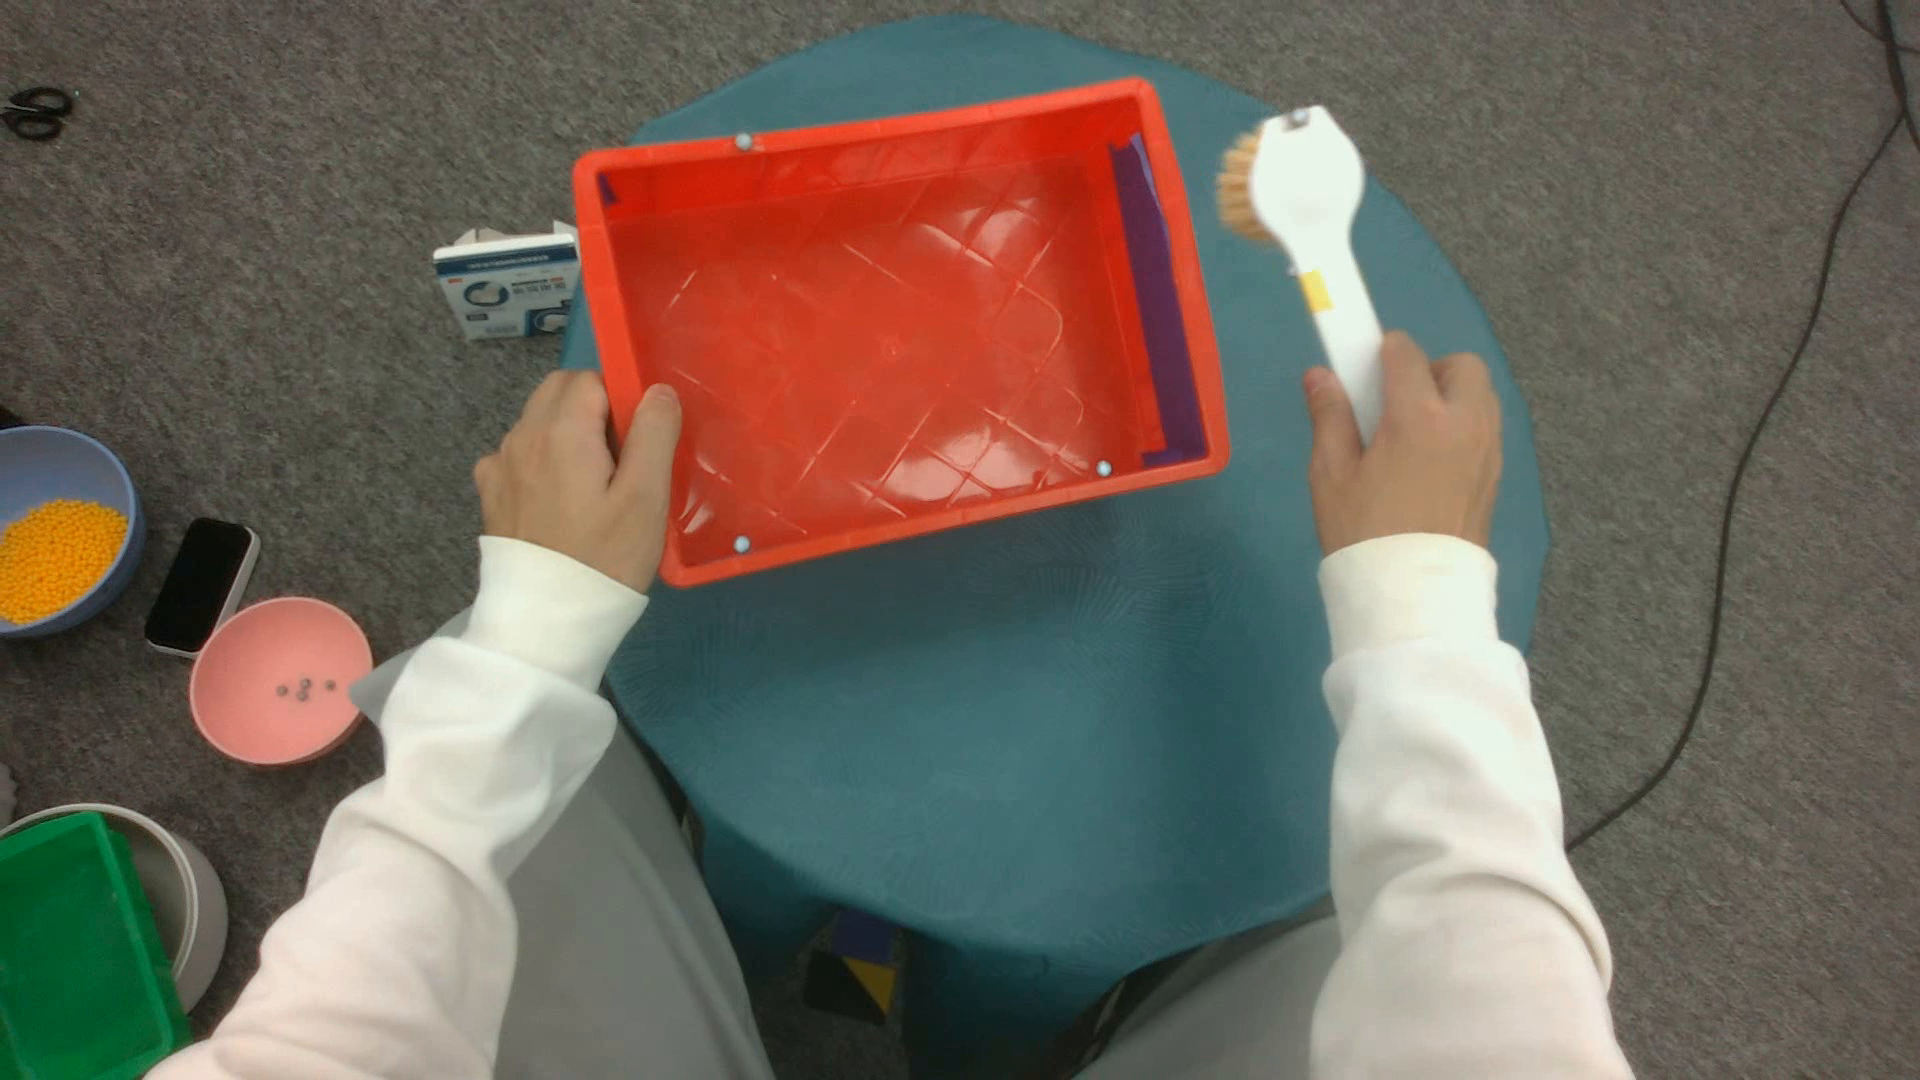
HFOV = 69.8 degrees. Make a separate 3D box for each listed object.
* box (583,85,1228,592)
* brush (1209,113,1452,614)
[{"bbox_3d":[-0.028,-0.105,0.729,0.304,0.096,0.206,-13,90,-12],"label":"box"},{"bbox_3d":[0.196,-0.091,0.713,0.068,0.056,0.266,-19,93,7],"label":"brush"}]
